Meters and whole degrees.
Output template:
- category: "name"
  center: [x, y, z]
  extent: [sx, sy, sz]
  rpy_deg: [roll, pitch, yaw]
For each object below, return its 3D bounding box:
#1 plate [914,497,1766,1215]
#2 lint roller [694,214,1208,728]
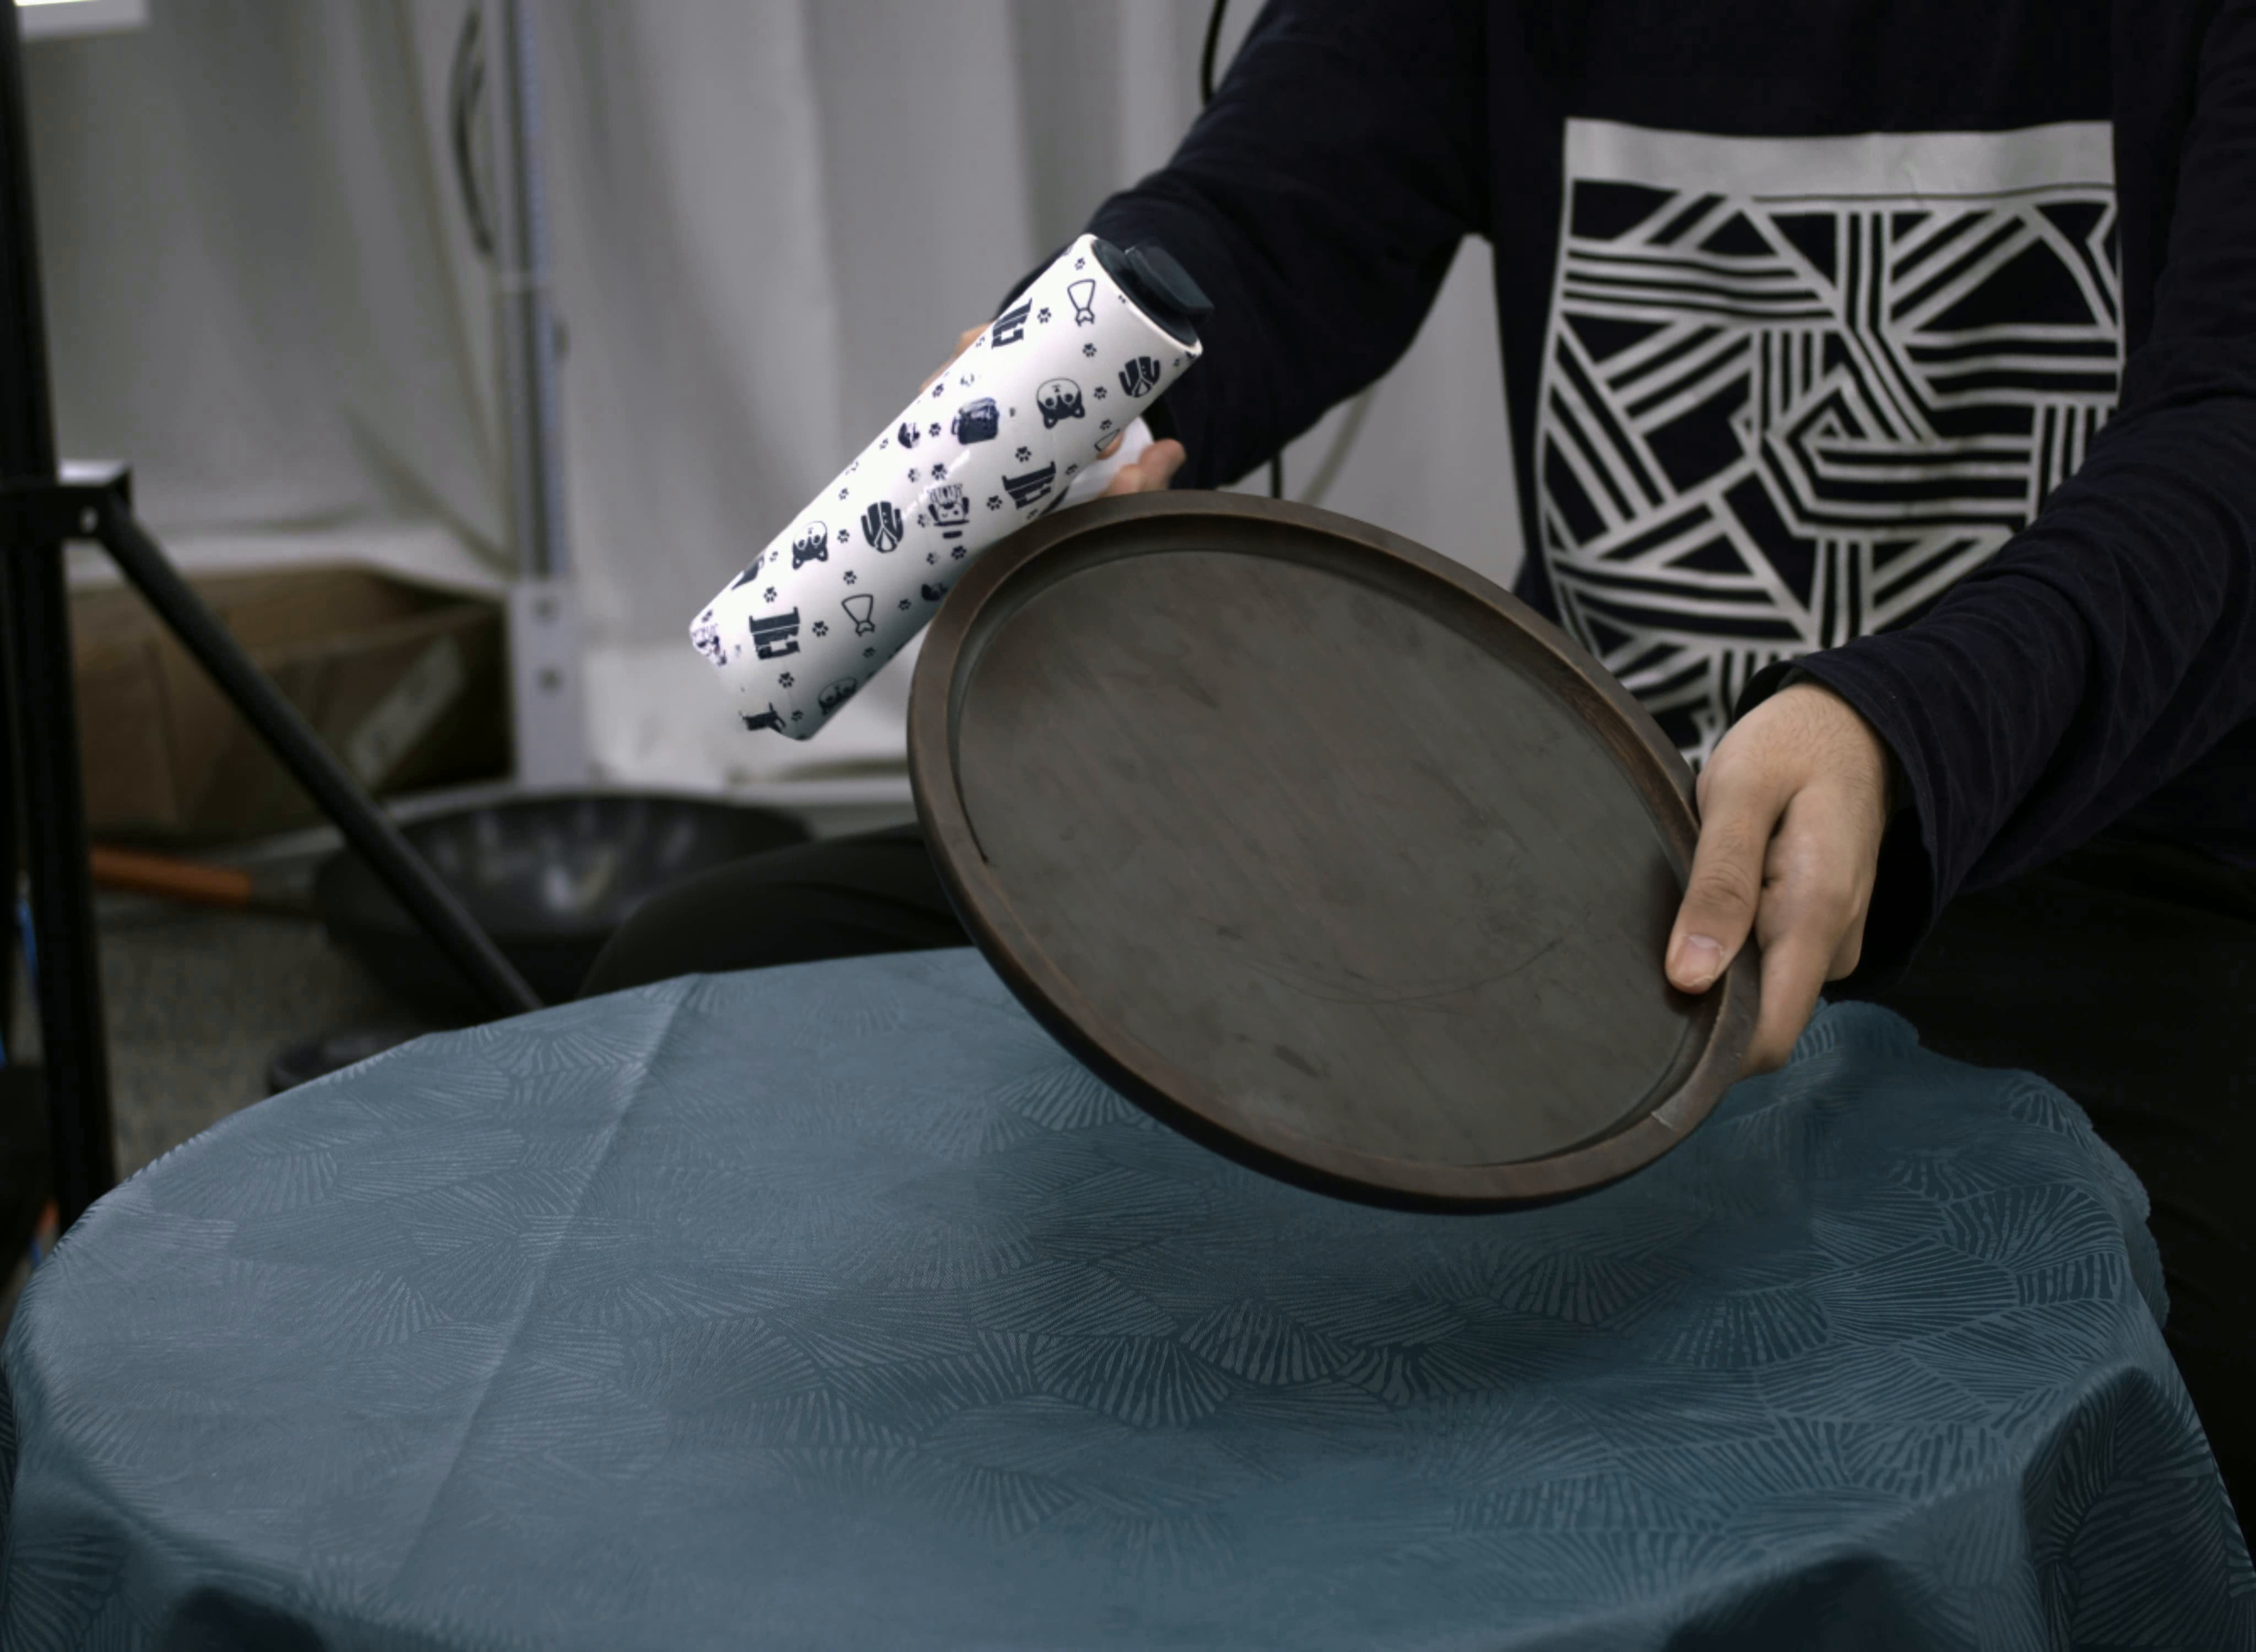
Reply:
- category: "plate"
  center: [0.058, 0.006, 1.452]
  extent: [0.250, 0.029, 0.257]
  rpy_deg: [15, 43, -16]
- category: "lint roller"
  center: [-0.031, -0.108, 1.584]
  extent: [0.177, 0.050, 0.245]
  rpy_deg: [-44, -4, 13]
